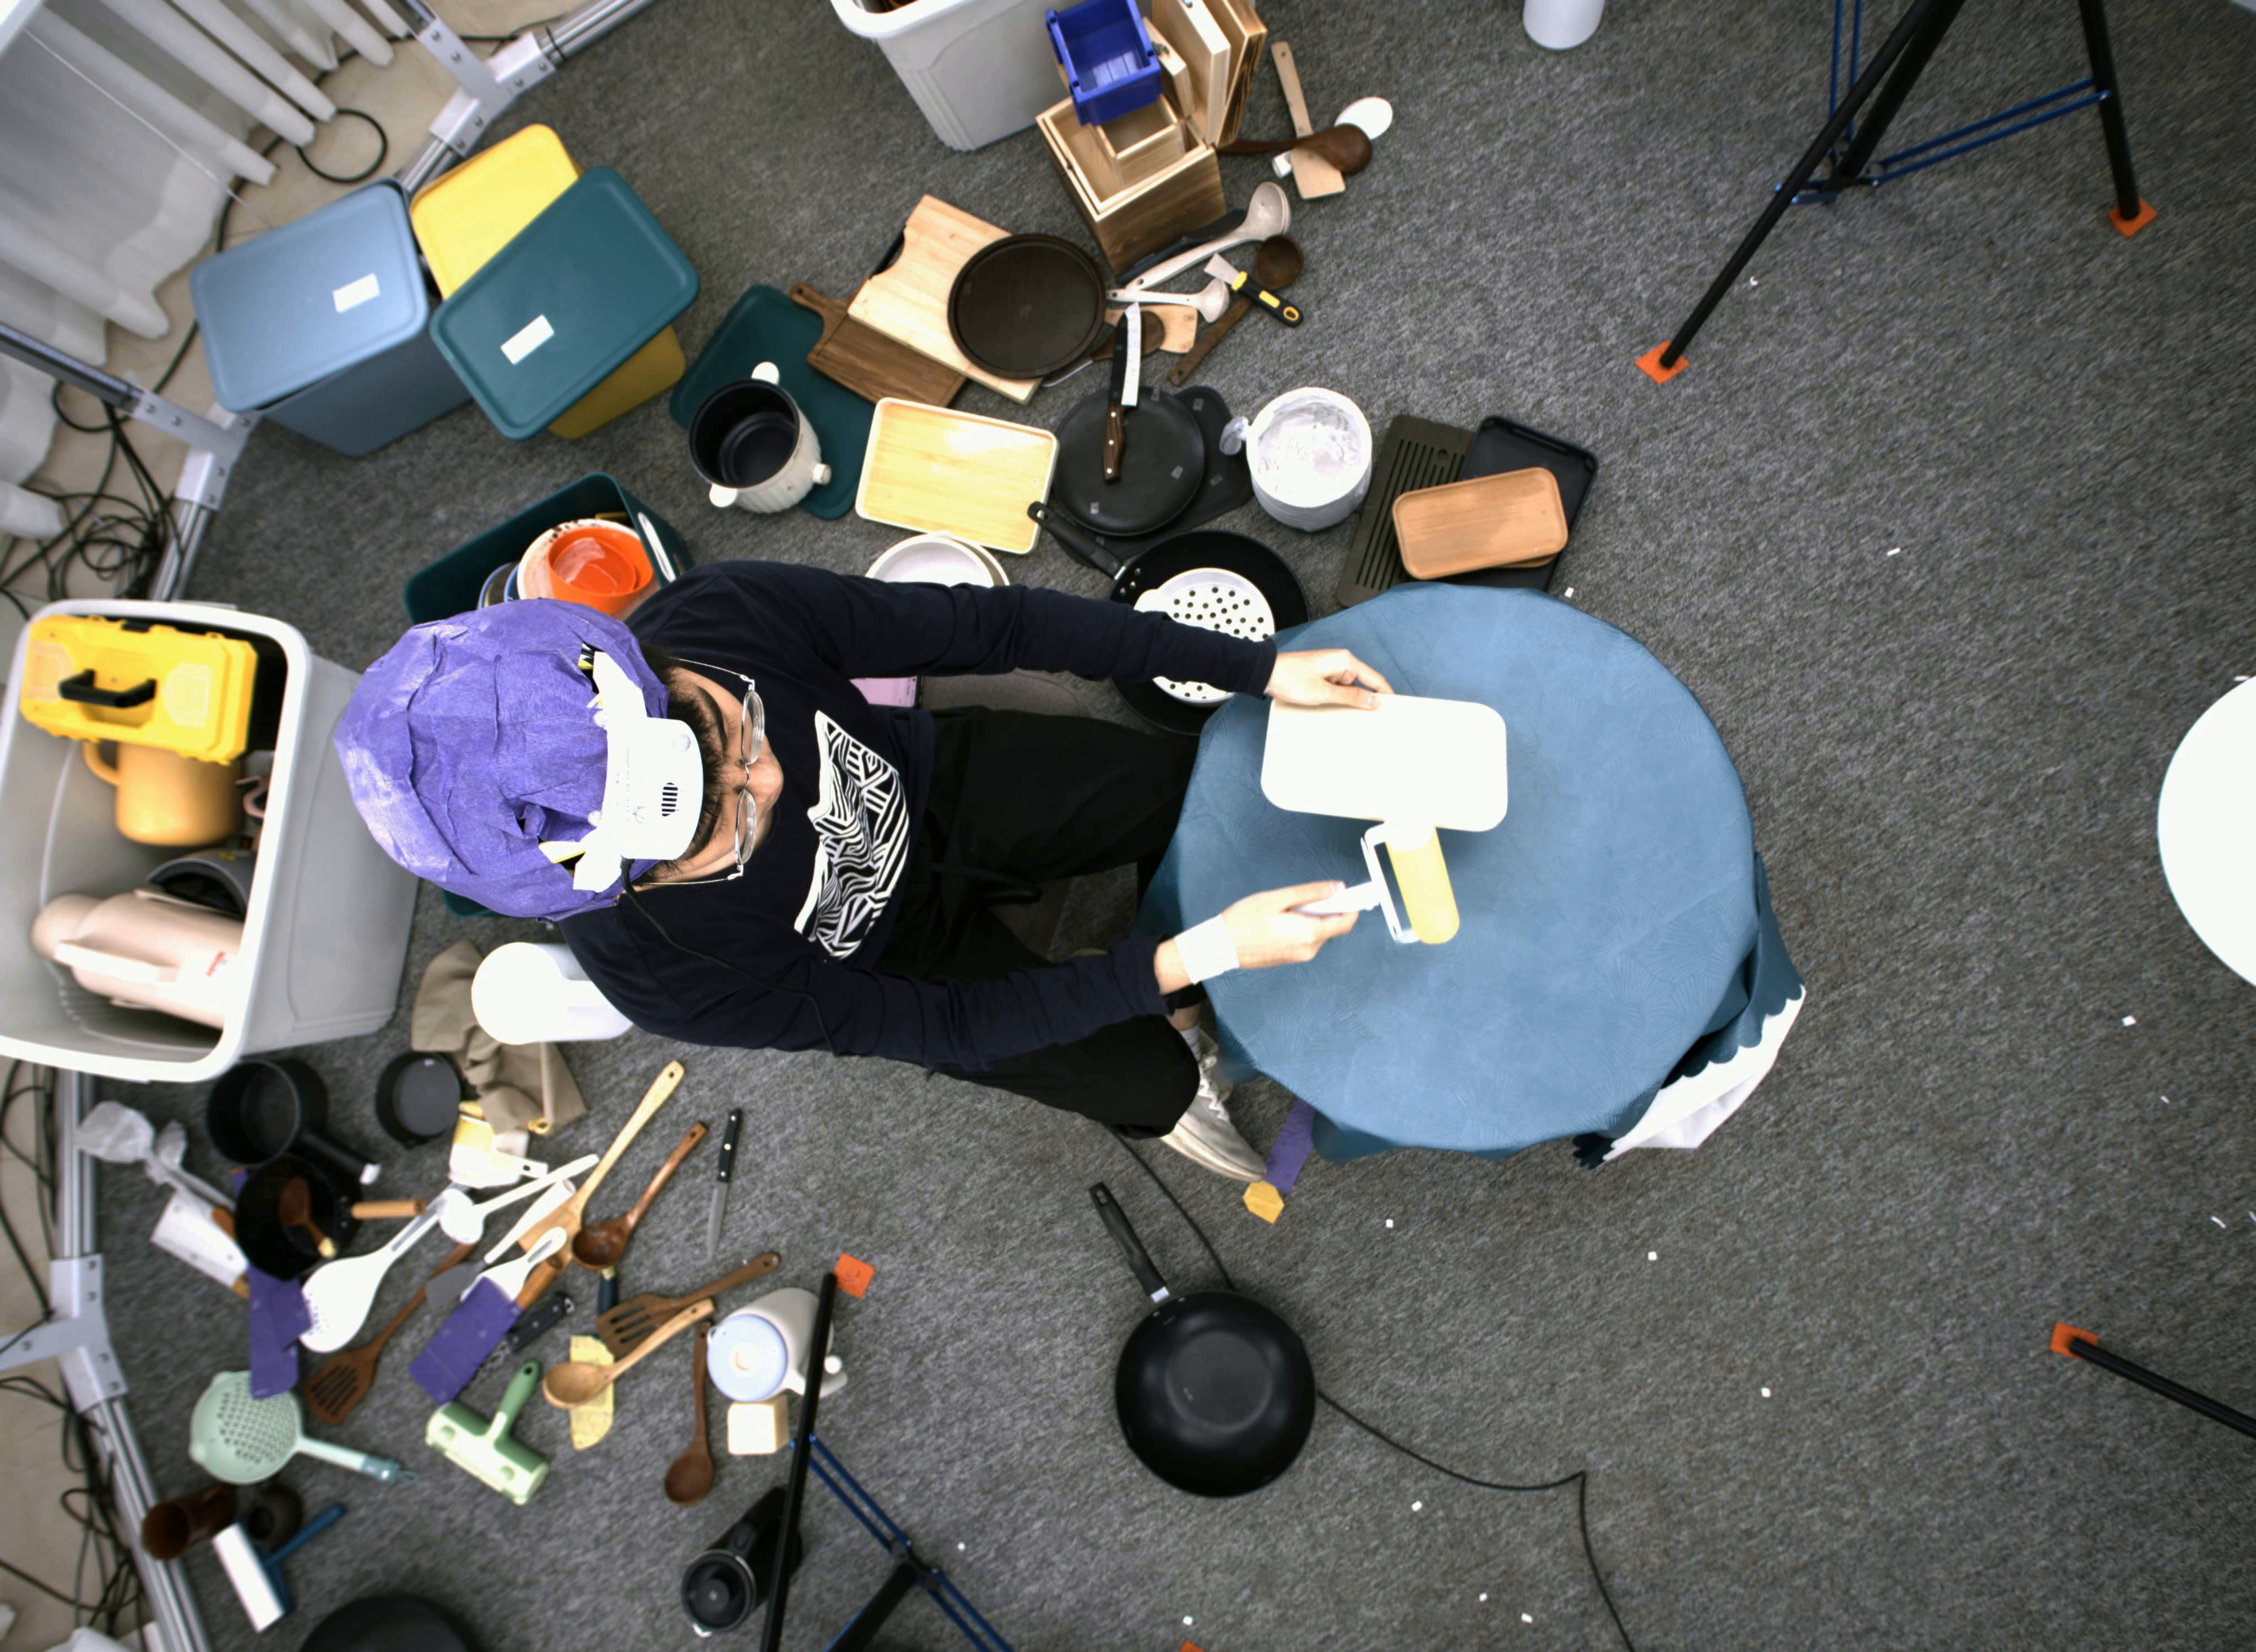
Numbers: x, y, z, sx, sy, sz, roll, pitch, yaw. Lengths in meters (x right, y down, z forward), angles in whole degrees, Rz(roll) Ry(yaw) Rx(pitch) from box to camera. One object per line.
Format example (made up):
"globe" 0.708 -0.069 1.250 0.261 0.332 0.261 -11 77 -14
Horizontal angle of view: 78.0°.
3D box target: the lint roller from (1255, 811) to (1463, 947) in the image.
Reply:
"lint roller" 0.216 0.081 1.320 0.193 0.177 0.050 -25 47 7

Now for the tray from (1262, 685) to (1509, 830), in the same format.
"tray" 0.256 -0.070 1.371 0.240 0.018 0.166 6 52 7
